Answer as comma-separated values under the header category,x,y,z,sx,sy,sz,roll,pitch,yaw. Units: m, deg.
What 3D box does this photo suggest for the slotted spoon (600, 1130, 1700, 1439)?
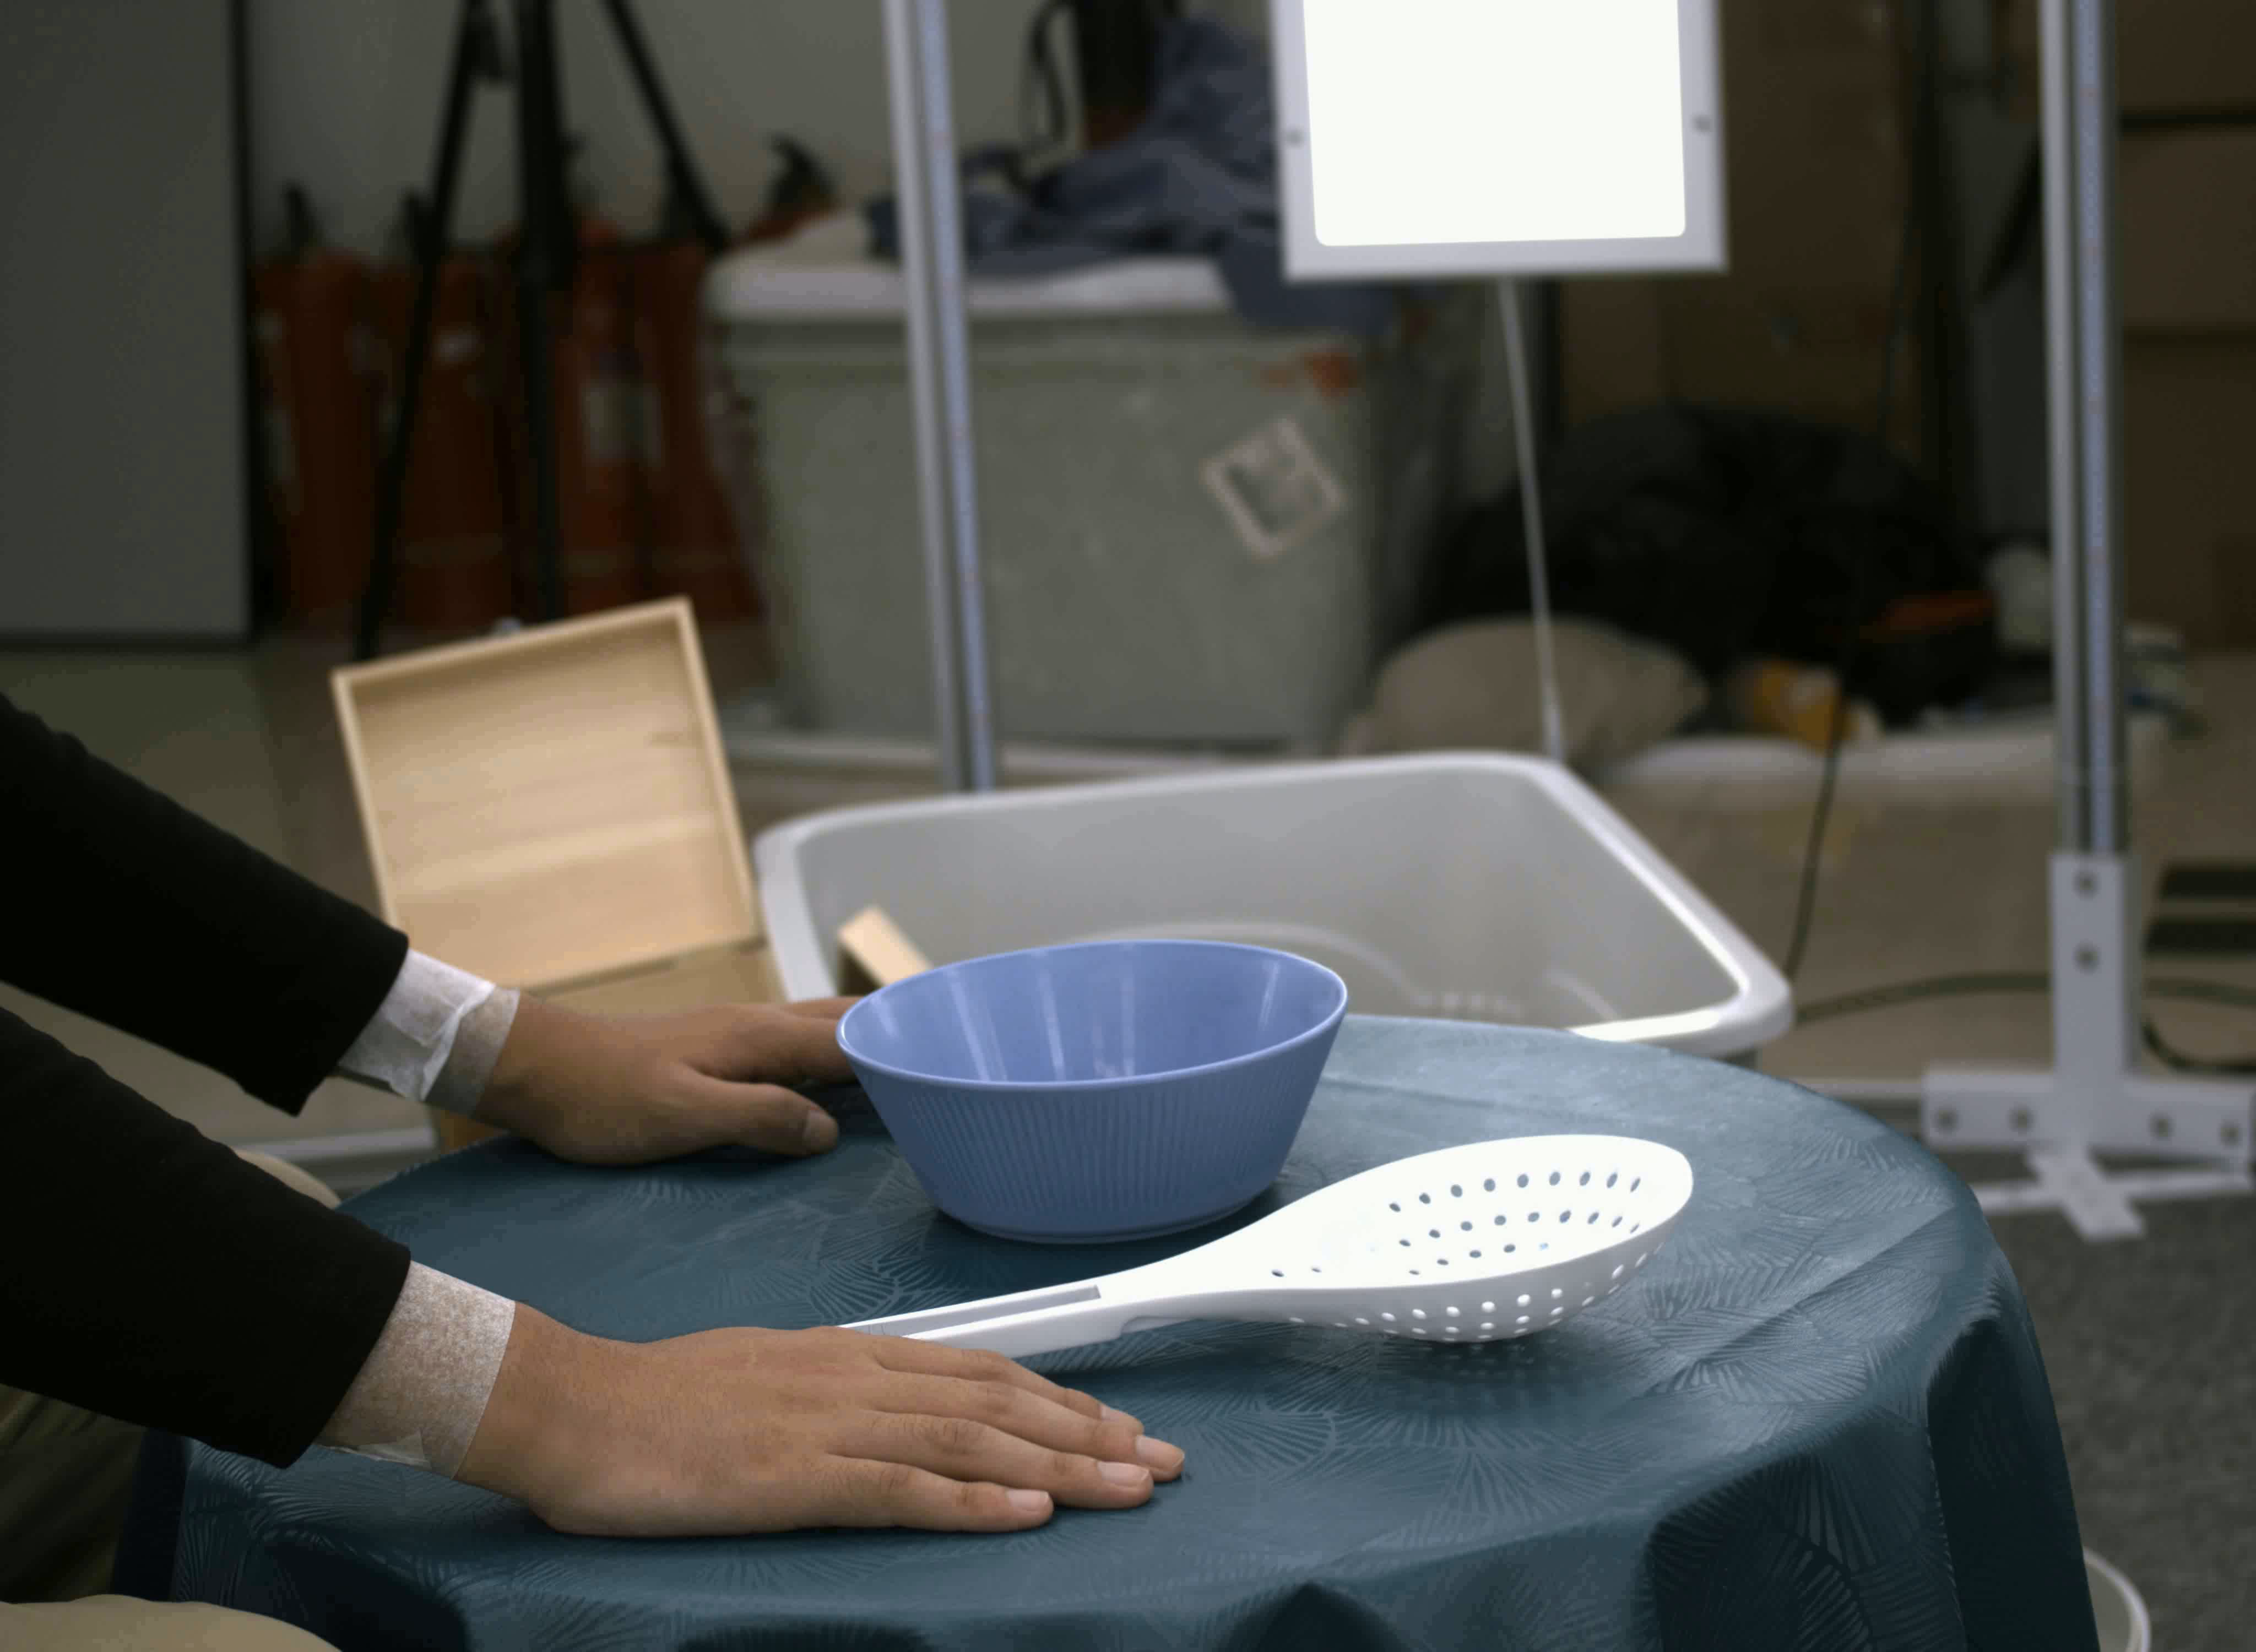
category,x,y,z,sx,sy,sz,roll,pitch,yaw
slotted spoon,0.008,0.147,1.717,0.348,0.046,0.136,-7,14,-3

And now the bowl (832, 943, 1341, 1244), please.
category,x,y,z,sx,sy,sz,roll,pitch,yaw
bowl,-0.011,0.094,1.889,0.175,0.070,0.176,-6,14,0
